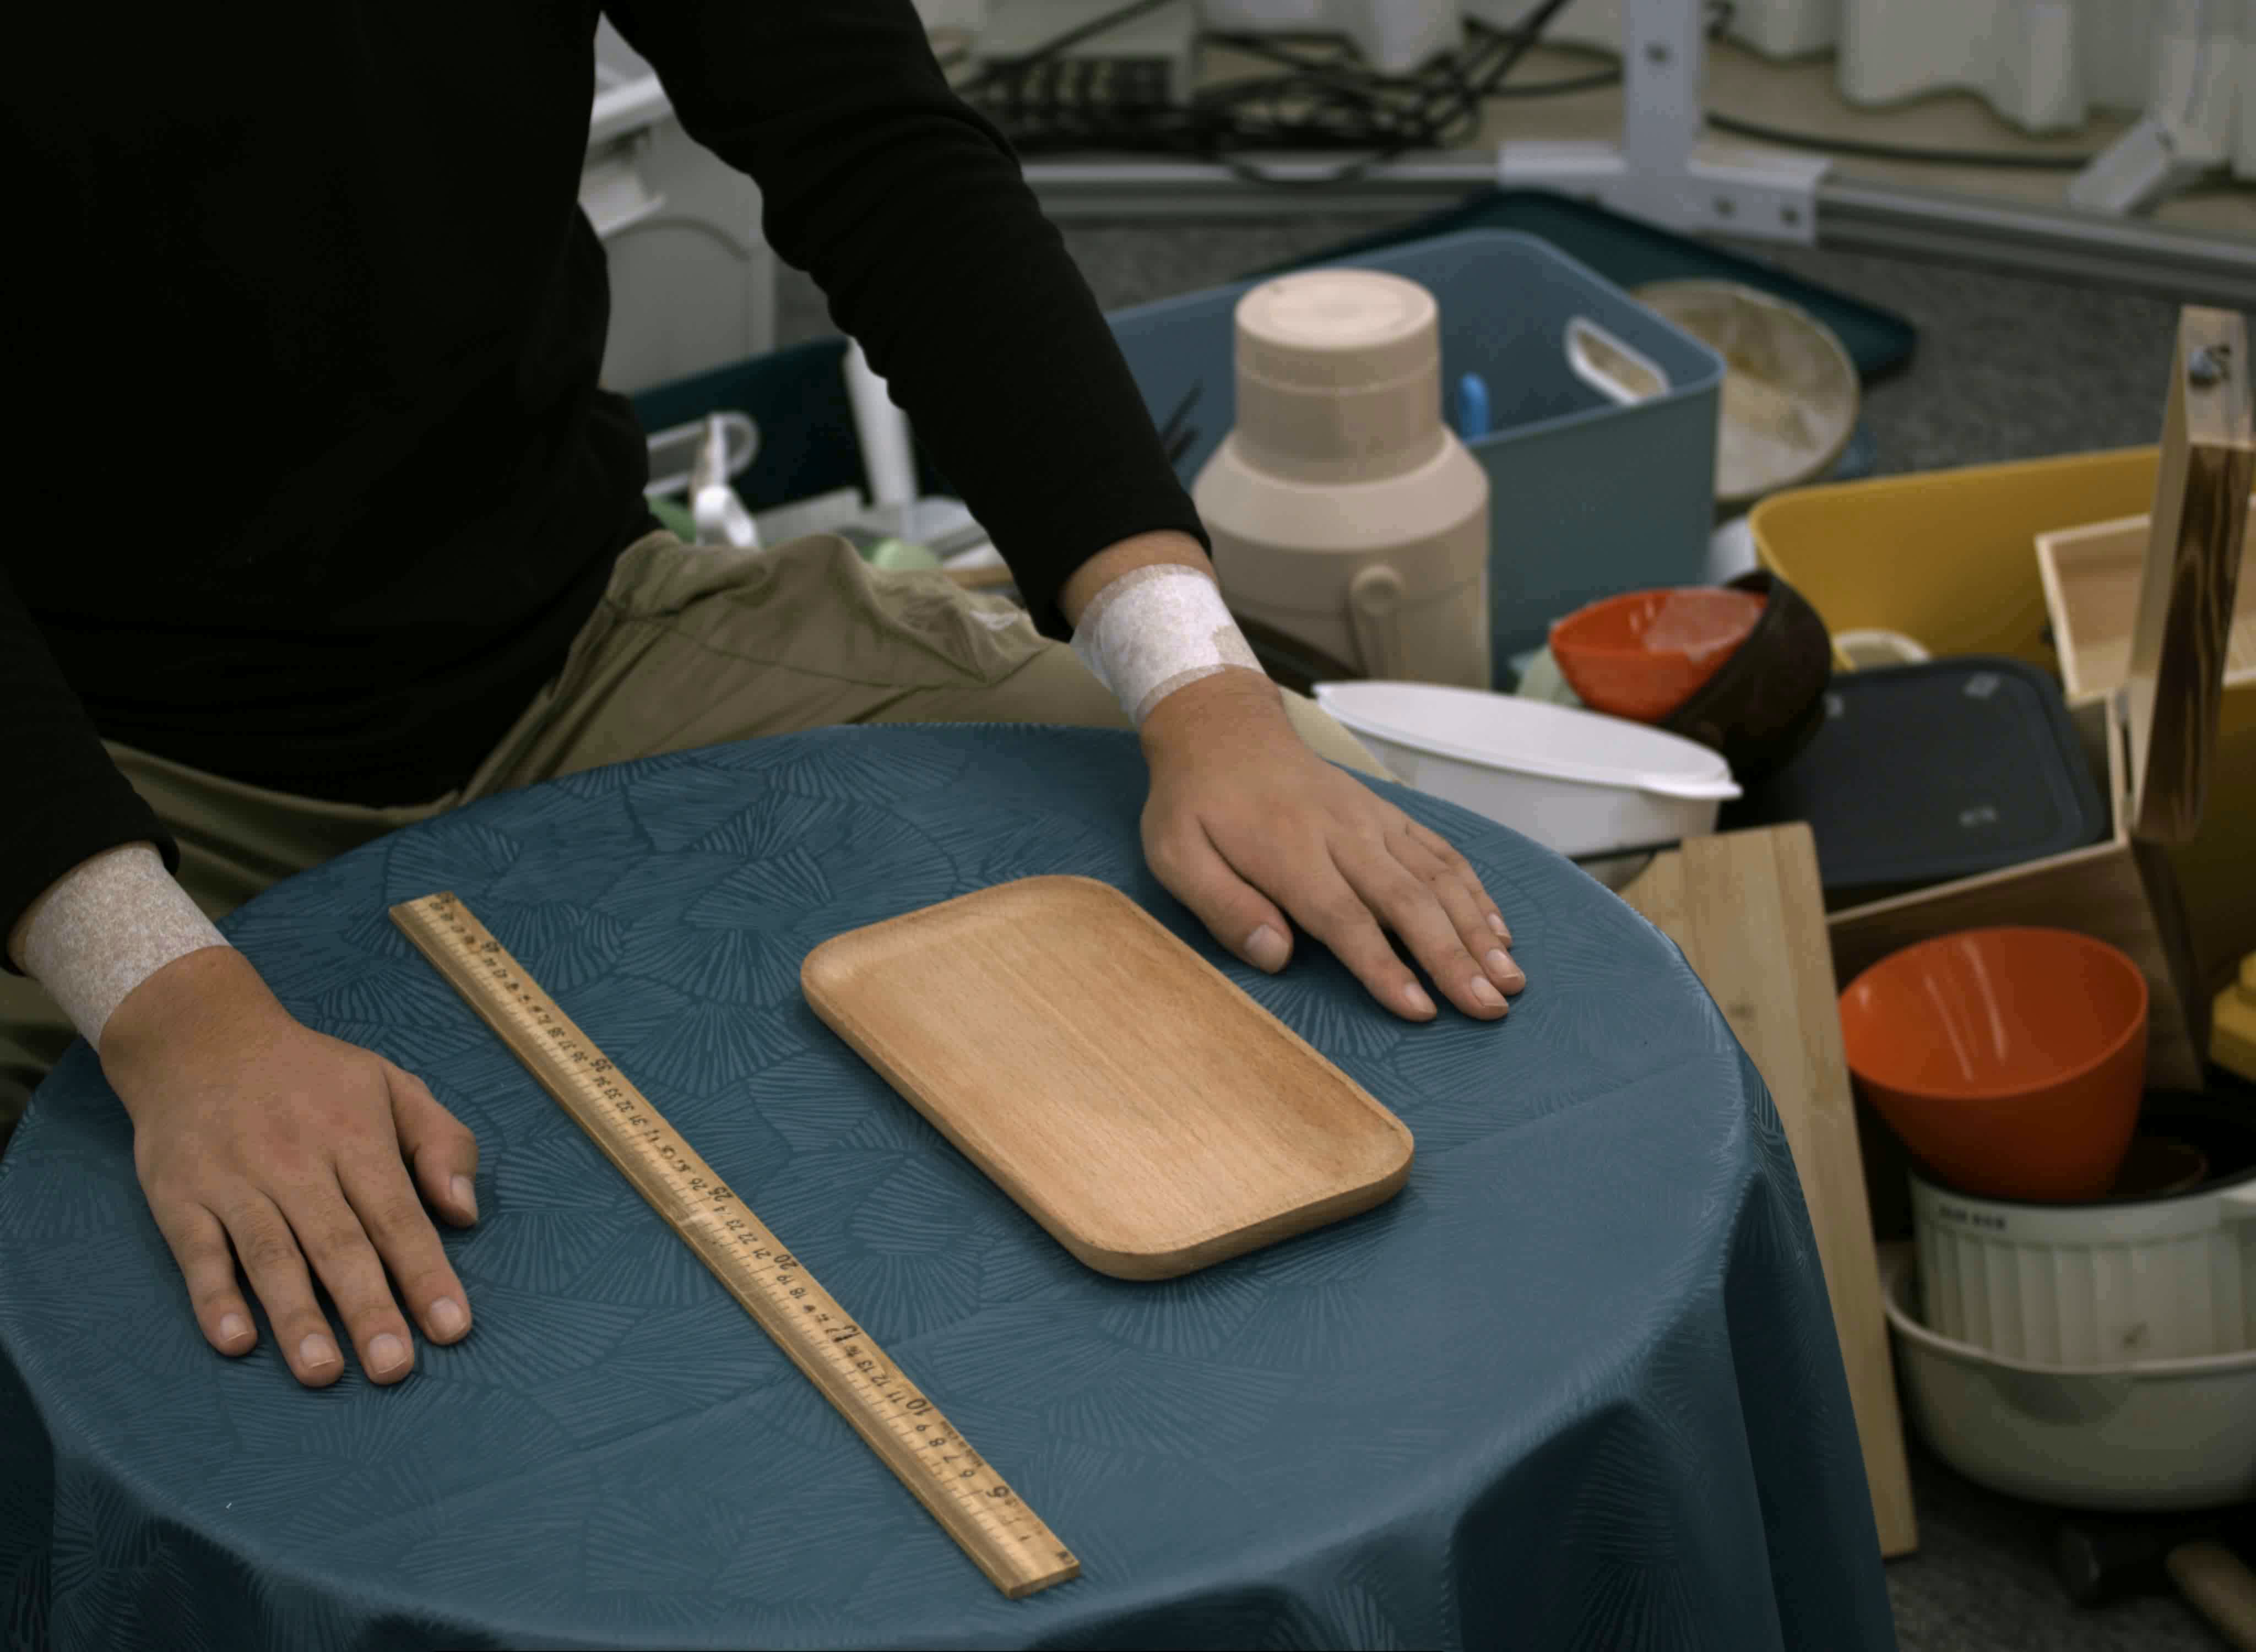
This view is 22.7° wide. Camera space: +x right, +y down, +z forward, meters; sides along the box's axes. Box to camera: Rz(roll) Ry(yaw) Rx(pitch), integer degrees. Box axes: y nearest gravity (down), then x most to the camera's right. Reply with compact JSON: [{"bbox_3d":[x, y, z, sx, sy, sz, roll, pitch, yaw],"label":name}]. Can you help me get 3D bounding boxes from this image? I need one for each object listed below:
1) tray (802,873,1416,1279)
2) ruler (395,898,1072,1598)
[{"bbox_3d":[-0.010,0.083,1.920,0.131,0.022,0.252,-14,28,-24],"label":"tray"},{"bbox_3d":[-0.141,0.127,1.859,0.027,0.006,0.503,-13,29,-24],"label":"ruler"}]
